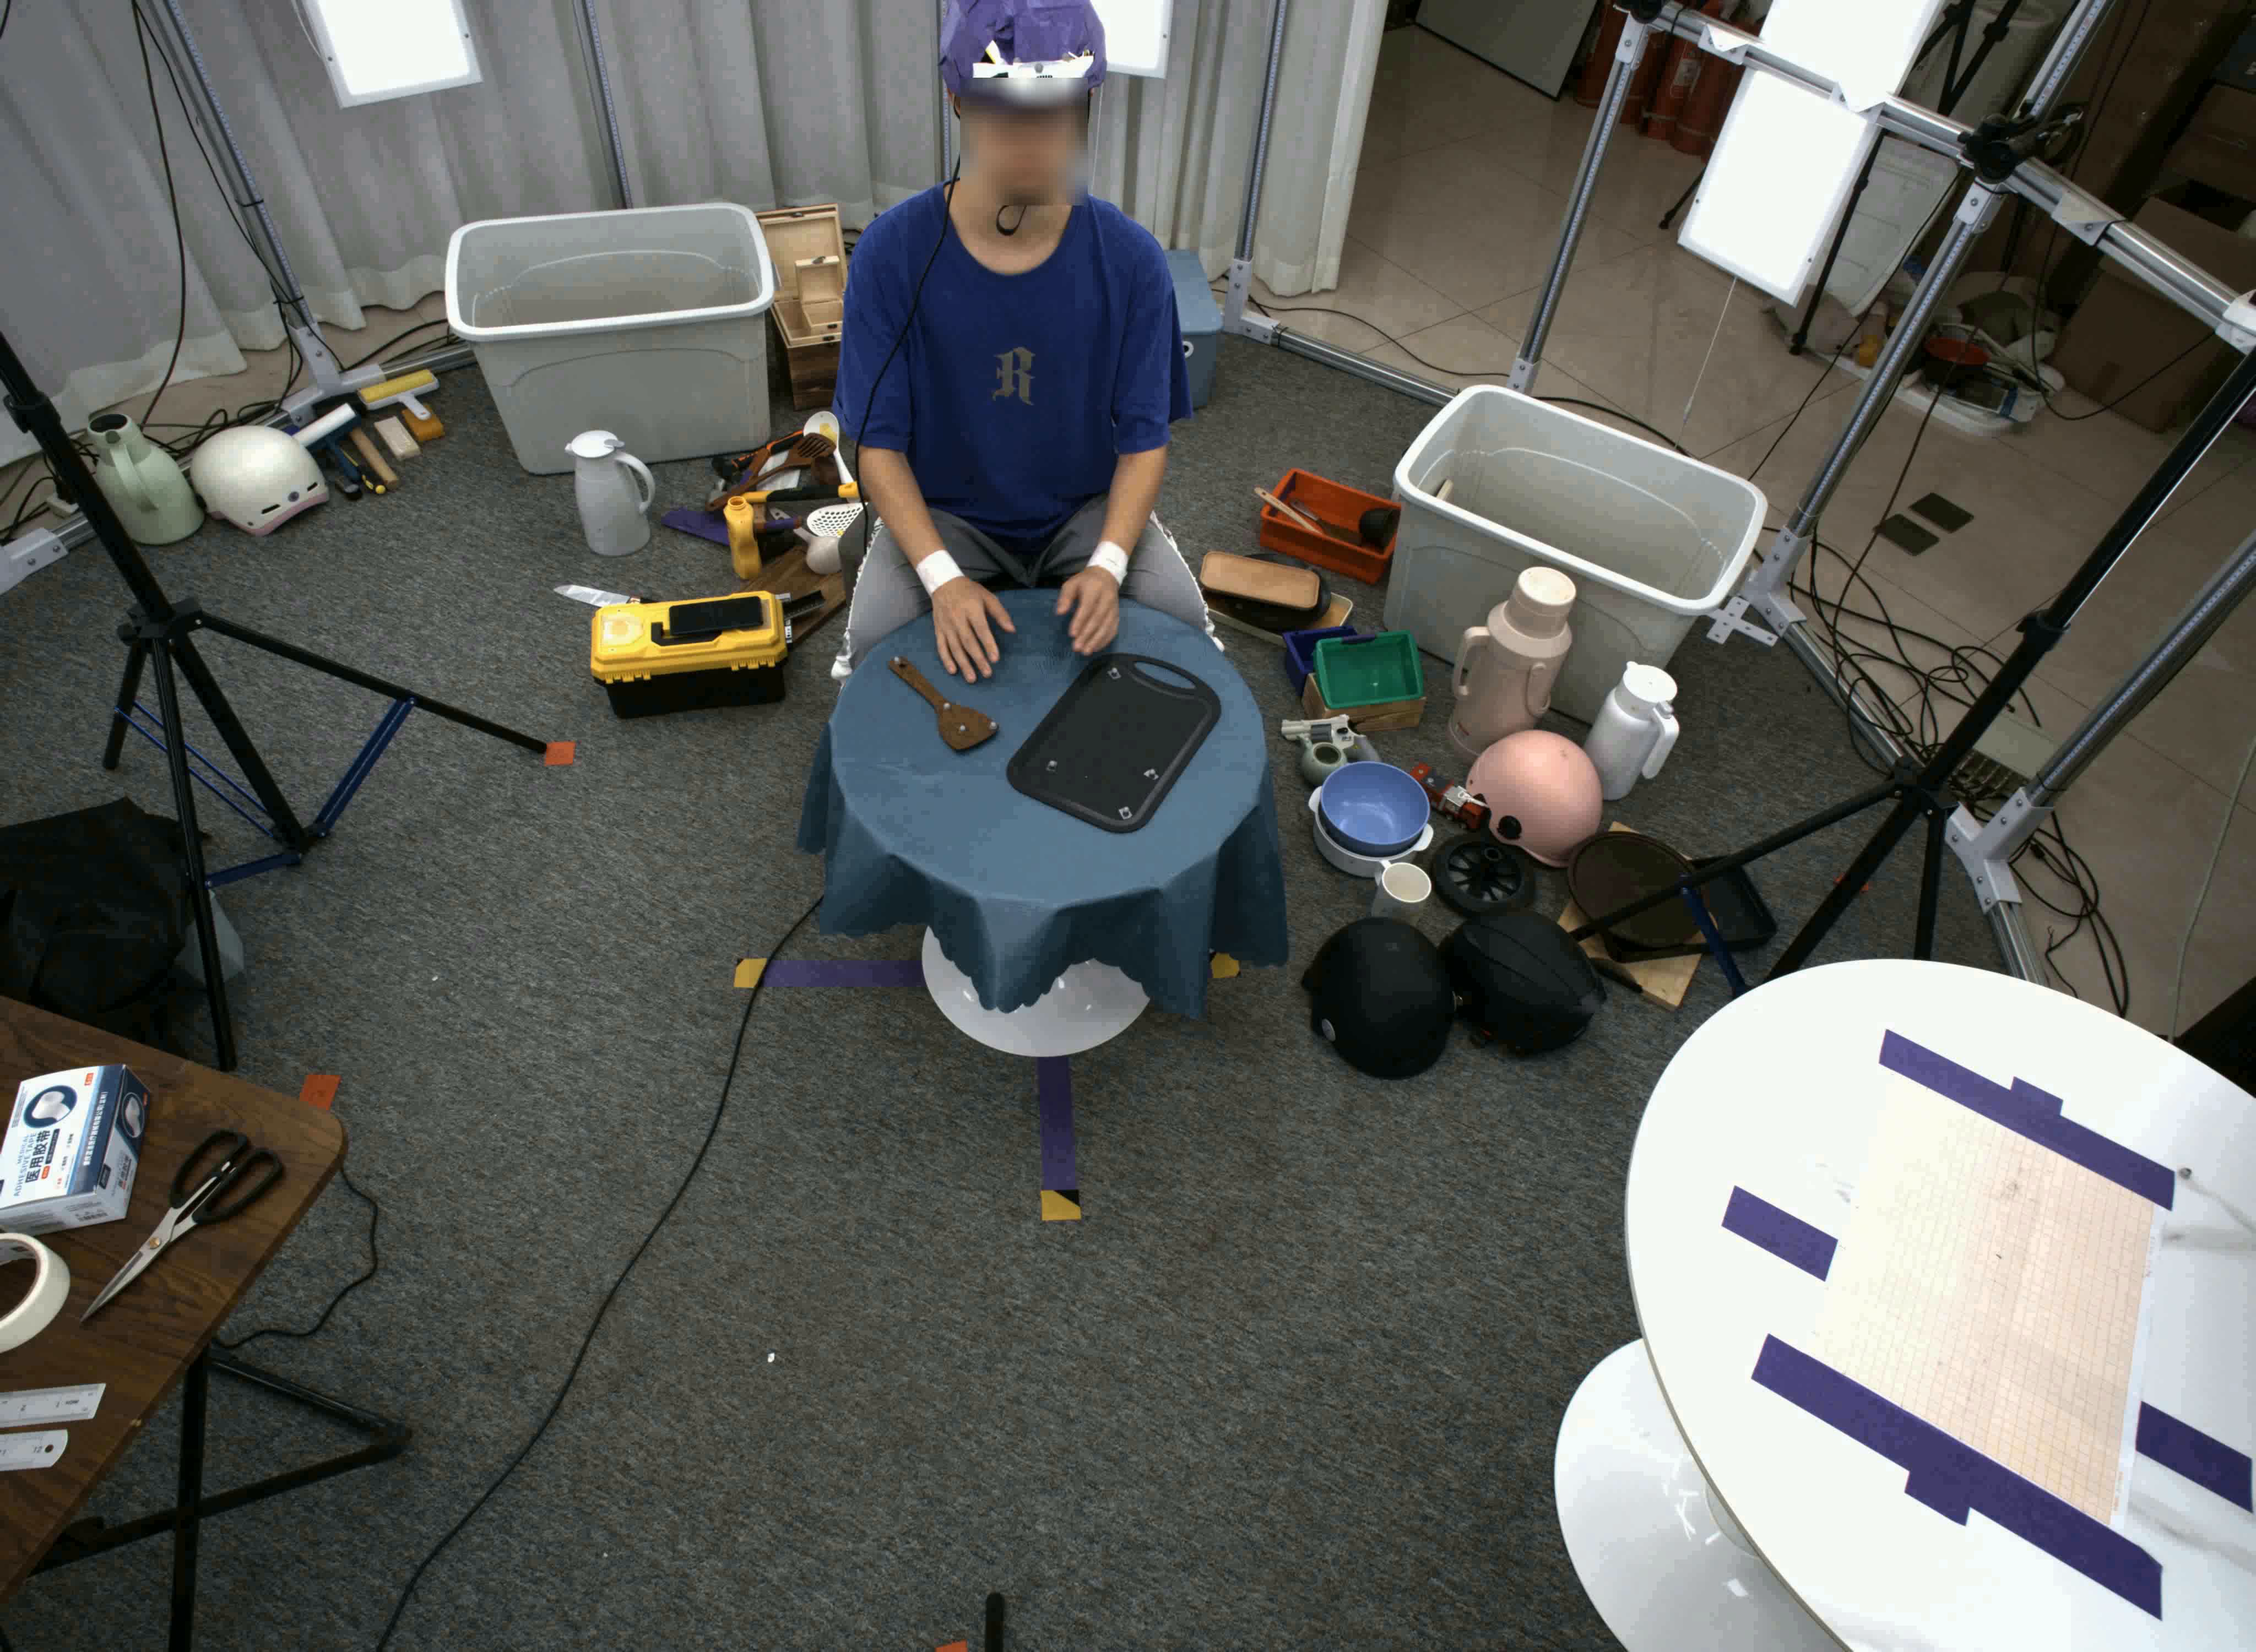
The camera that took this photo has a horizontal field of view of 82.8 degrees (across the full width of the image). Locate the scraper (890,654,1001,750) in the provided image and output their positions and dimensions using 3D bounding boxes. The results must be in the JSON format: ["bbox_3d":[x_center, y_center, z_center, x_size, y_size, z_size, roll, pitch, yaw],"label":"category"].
[{"bbox_3d":[-0.266,-0.179,1.804,0.076,0.010,0.215,-30,57,-27],"label":"scraper"}]

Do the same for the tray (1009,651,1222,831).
[{"bbox_3d":[-0.010,-0.132,1.782,0.212,0.009,0.331,24,52,16],"label":"tray"}]
